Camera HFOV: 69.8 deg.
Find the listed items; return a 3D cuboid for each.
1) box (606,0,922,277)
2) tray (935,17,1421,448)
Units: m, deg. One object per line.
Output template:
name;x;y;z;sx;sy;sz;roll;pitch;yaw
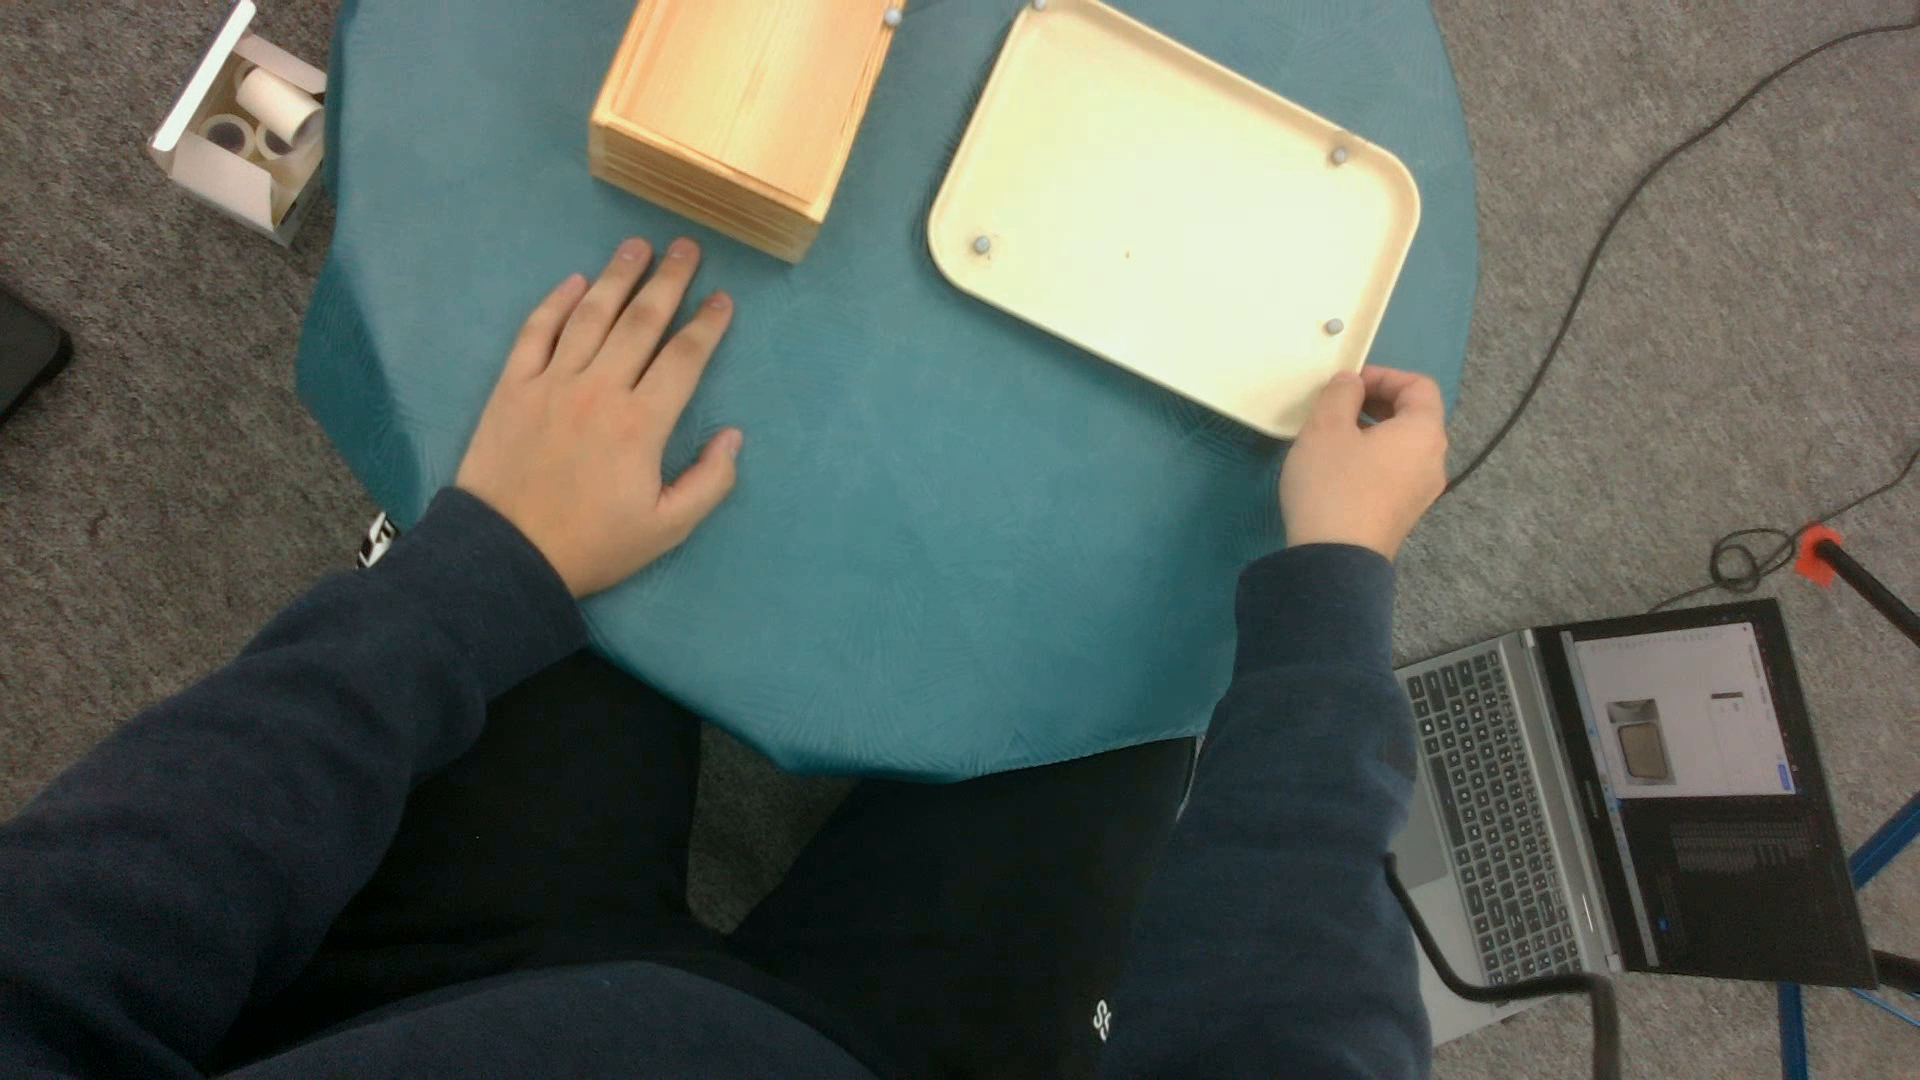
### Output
box;-0.081;-0.250;0.665;0.107;0.080;0.211;21;81;-12
tray;0.118;-0.162;0.731;0.240;0.017;0.171;24;81;-5
